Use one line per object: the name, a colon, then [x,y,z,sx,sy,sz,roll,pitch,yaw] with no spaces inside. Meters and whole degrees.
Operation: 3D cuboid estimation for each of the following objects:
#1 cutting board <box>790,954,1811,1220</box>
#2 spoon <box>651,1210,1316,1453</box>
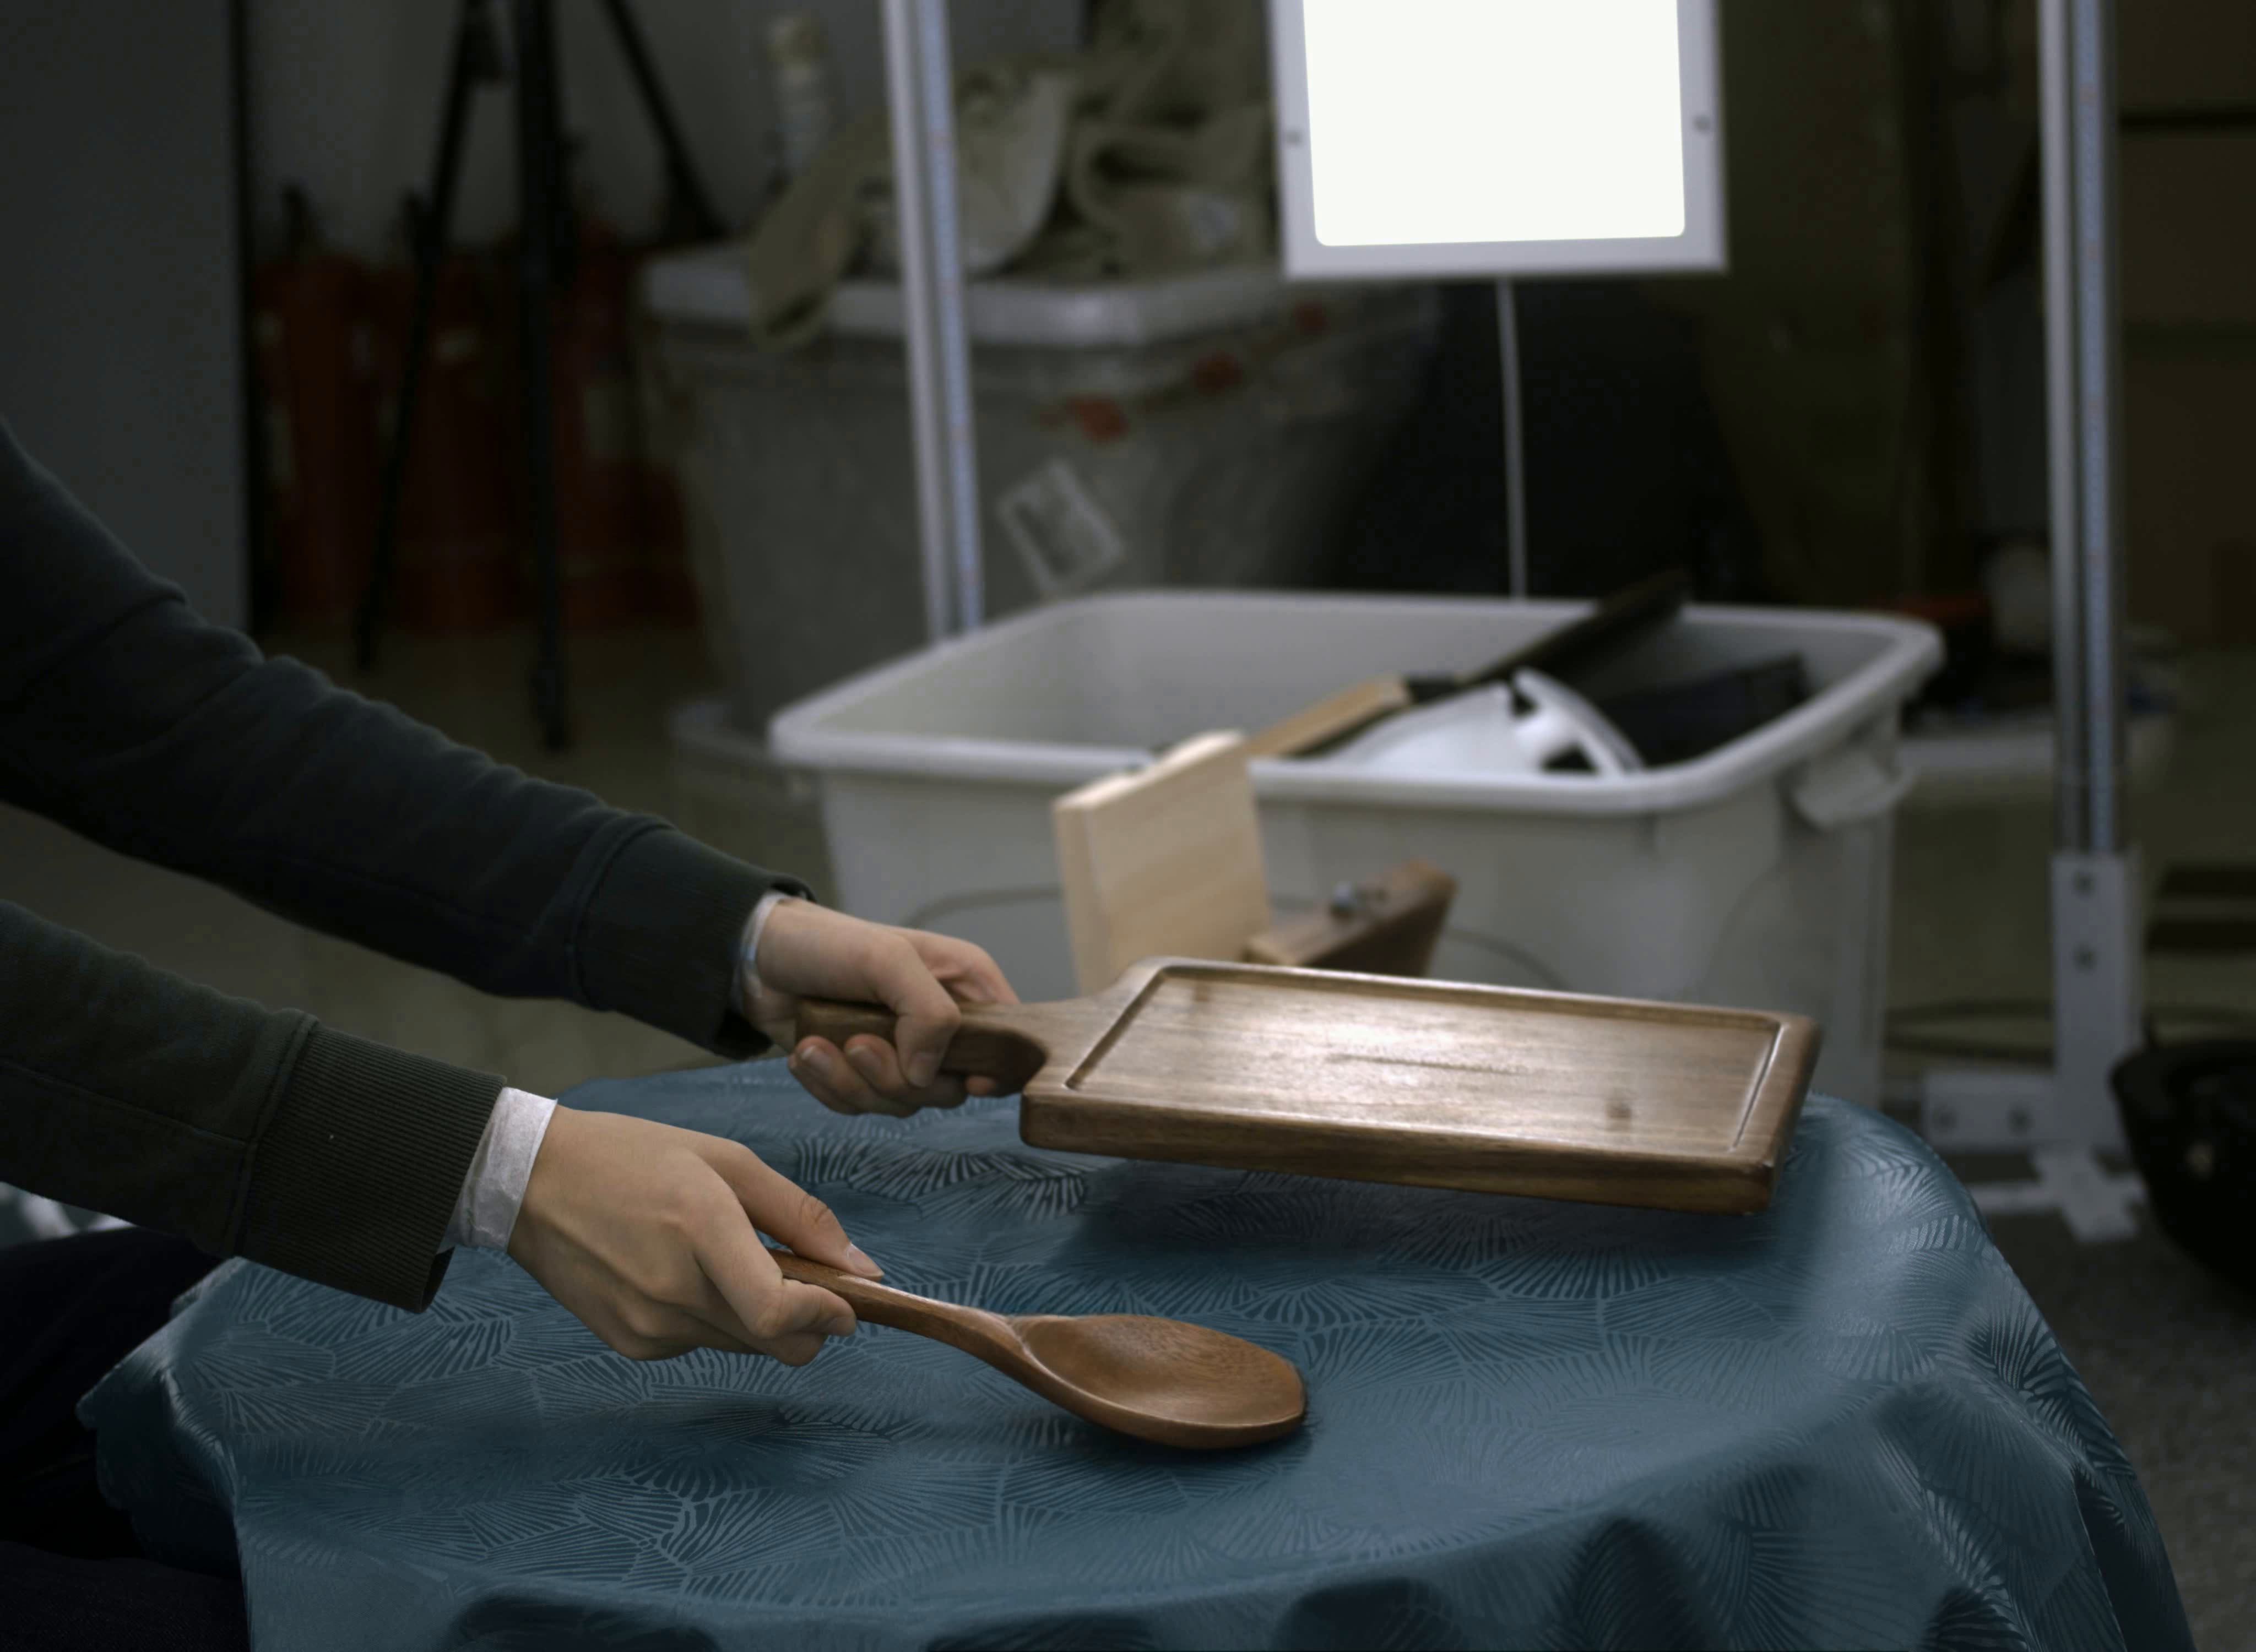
cutting board: [0.055,0.082,1.892,0.355,0.023,0.198,5,14,13]
spoon: [-0.046,0.153,1.683,0.218,0.017,0.074,15,22,17]
